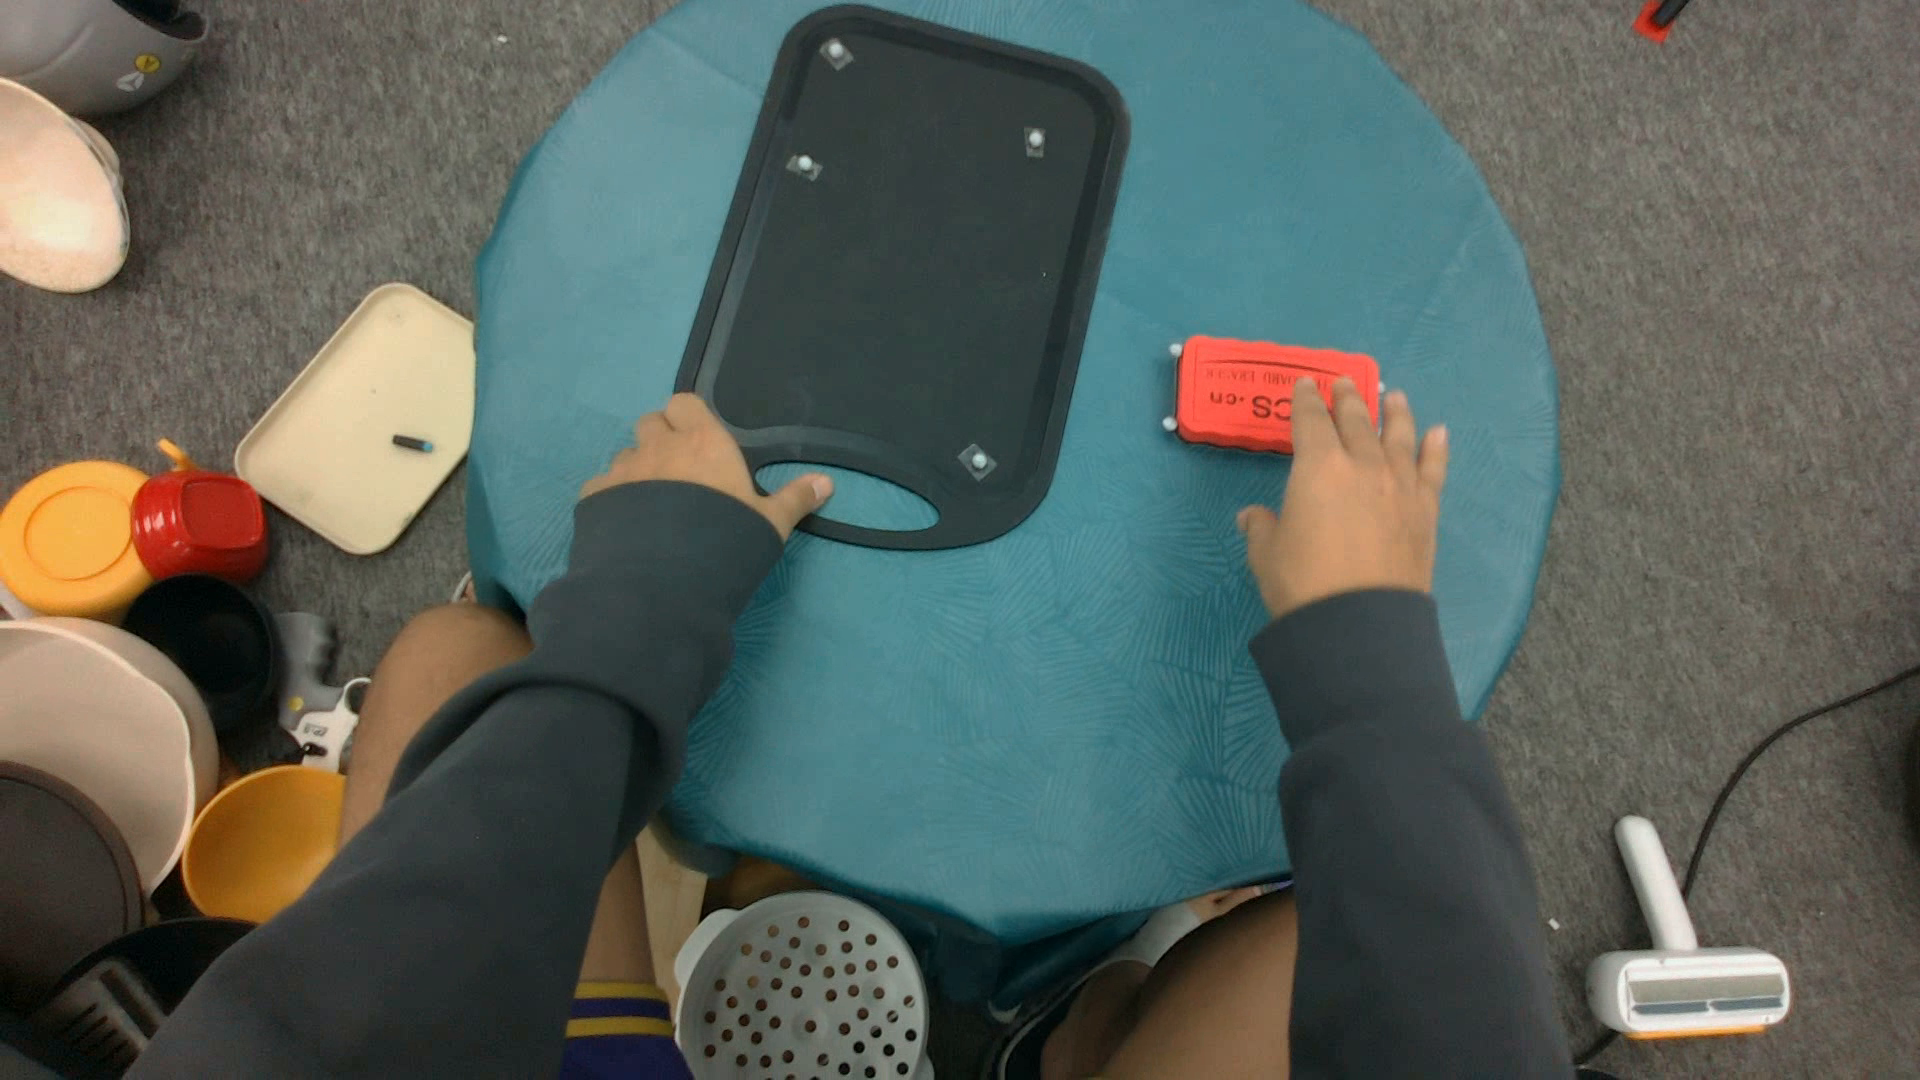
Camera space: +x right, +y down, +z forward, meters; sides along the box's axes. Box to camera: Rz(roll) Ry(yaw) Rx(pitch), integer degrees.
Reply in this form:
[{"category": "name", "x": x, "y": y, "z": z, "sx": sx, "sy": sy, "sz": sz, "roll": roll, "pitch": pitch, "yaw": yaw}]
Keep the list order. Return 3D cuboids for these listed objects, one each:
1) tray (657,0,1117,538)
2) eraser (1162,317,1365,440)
[{"category": "tray", "x": -0.036, "y": -0.158, "z": 0.764, "sx": 0.211, "sy": 0.010, "sz": 0.326, "roll": 14, "pitch": 73, "yaw": -2}, {"category": "eraser", "x": 0.166, "y": -0.088, "z": 0.753, "sx": 0.108, "sy": 0.023, "sz": 0.059, "roll": 5, "pitch": 72, "yaw": -3}]
